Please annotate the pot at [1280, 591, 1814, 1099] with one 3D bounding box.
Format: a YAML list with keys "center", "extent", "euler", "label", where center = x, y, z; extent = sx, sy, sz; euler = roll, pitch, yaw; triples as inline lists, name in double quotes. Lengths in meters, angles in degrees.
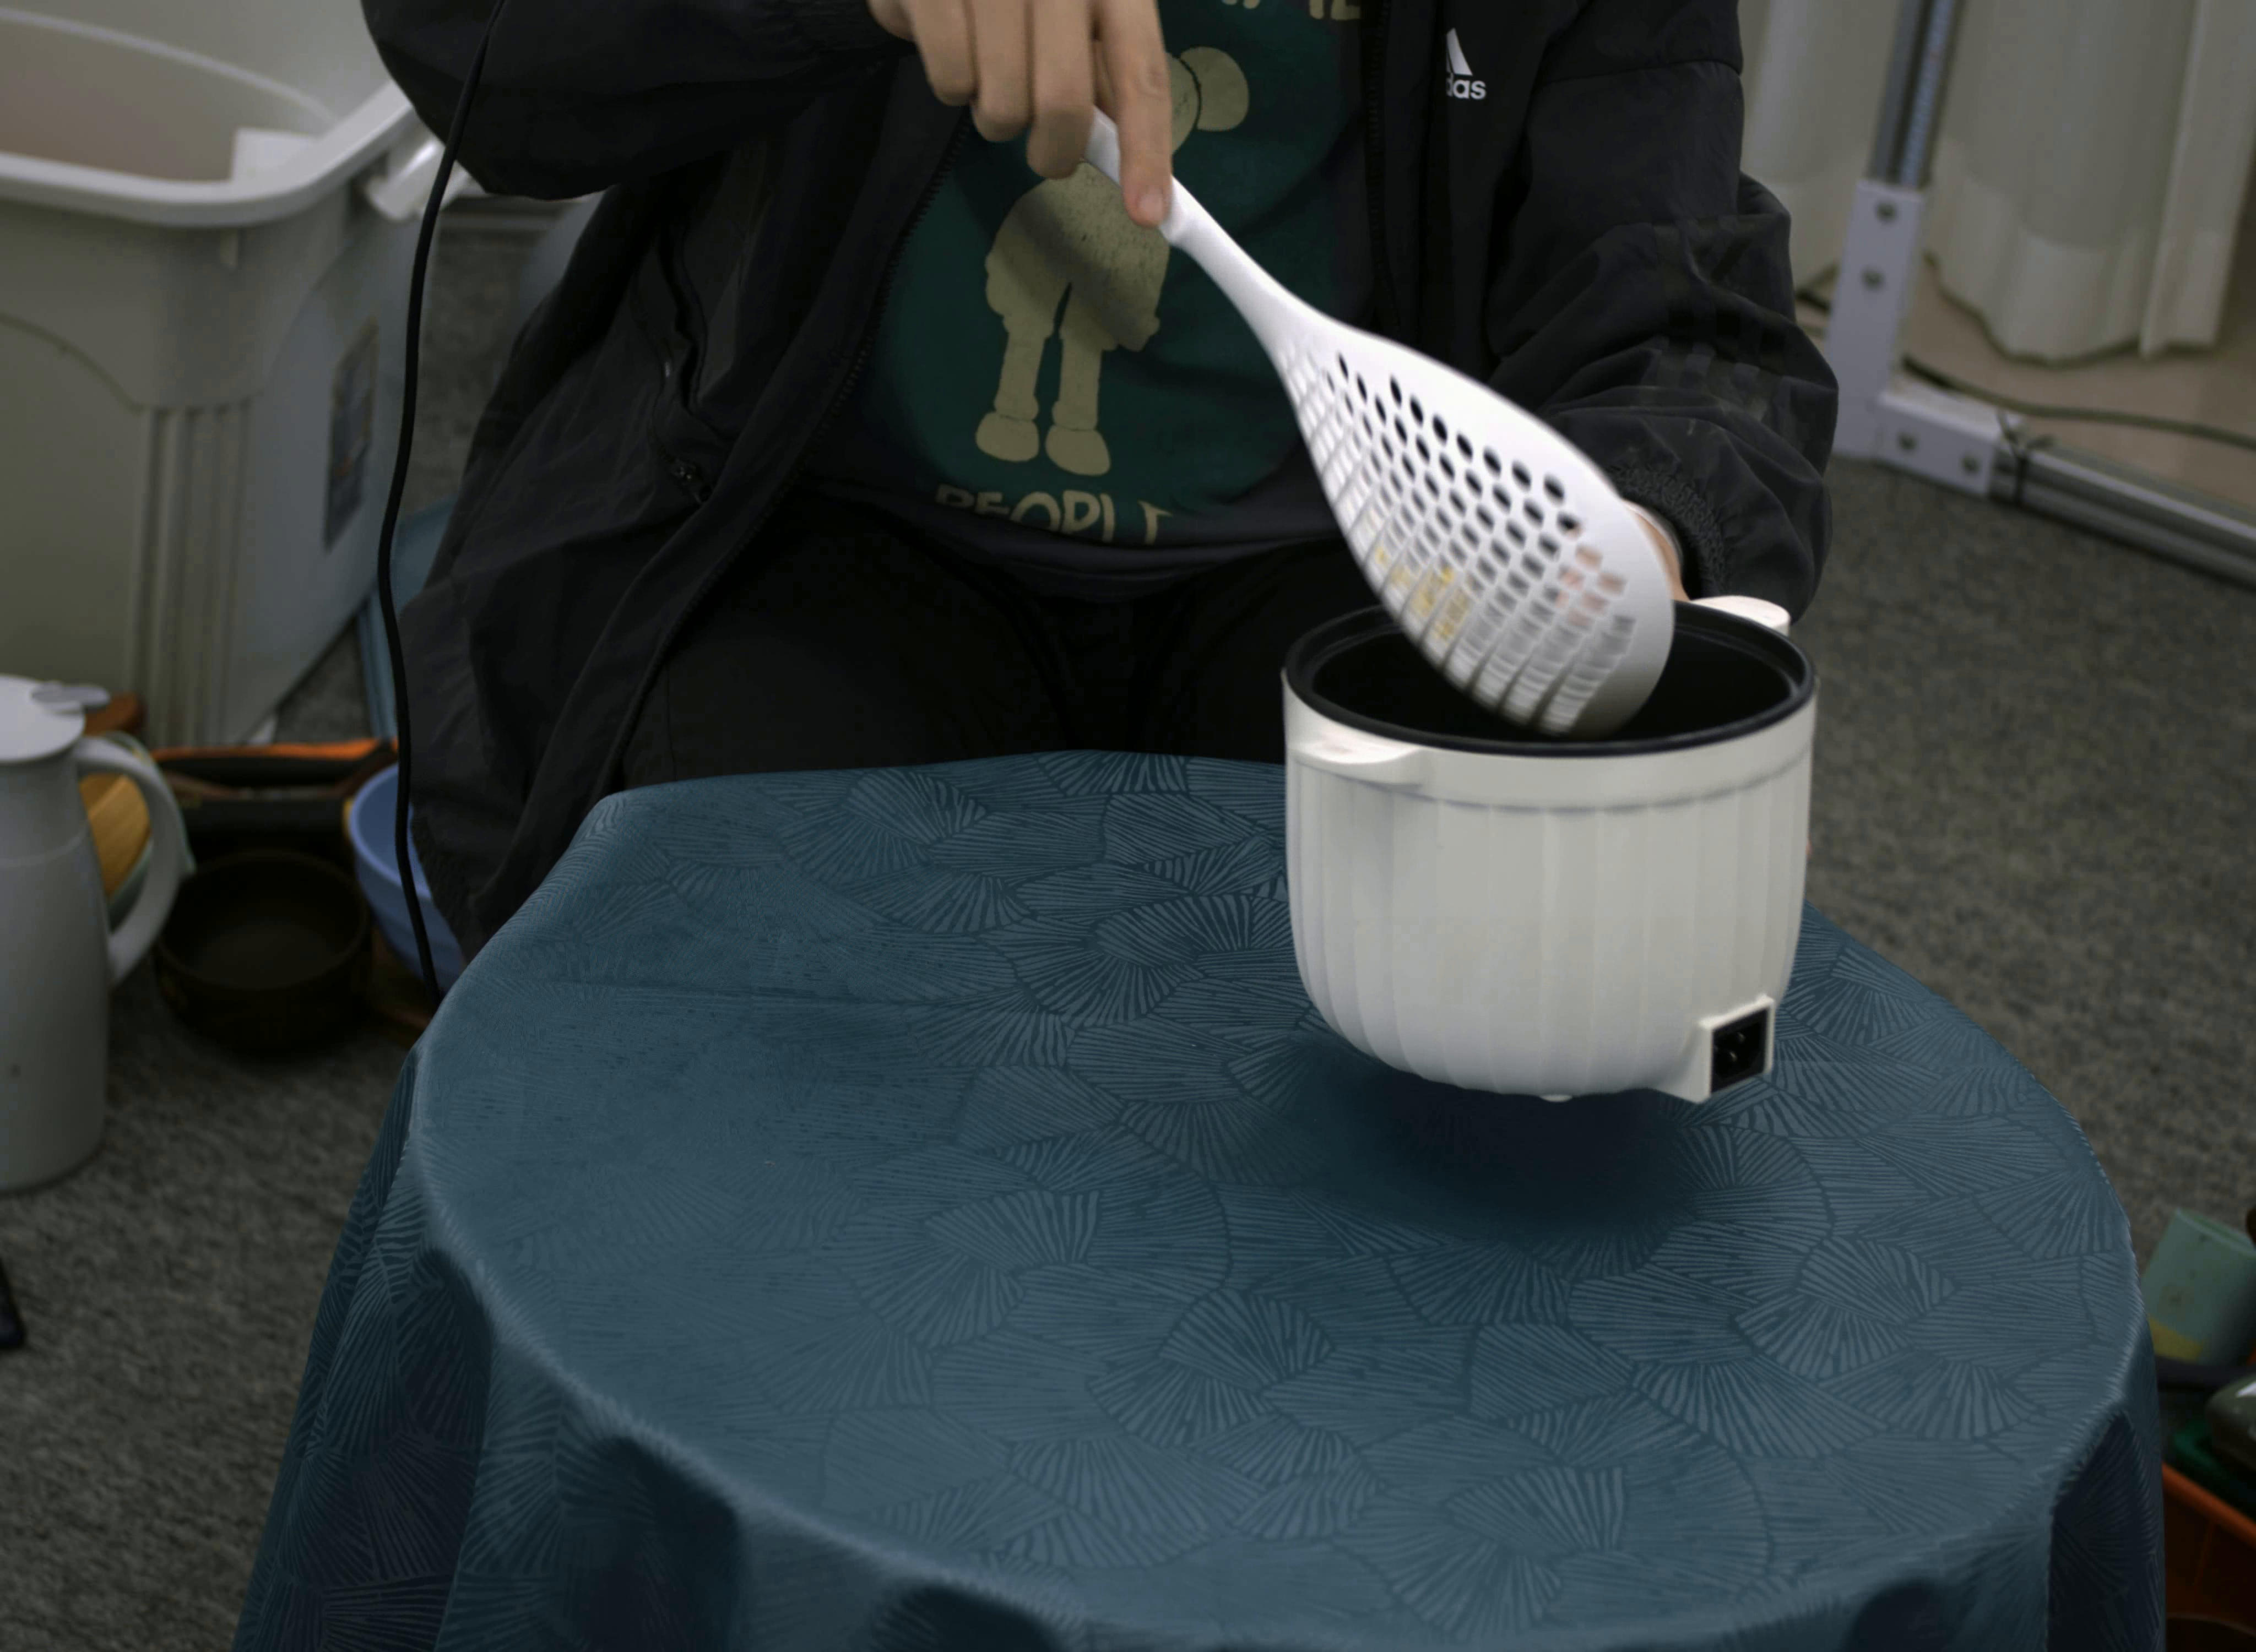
- center: [0.137, 0.005, 1.833]
  extent: [0.192, 0.142, 0.239]
  euler: [21, 27, 41]
  label: "pot"

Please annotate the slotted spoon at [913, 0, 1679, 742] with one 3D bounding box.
- center: [0.051, -0.161, 1.825]
  extent: [0.050, 0.136, 0.349]
  euler: [-34, 77, -29]
  label: "slotted spoon"
